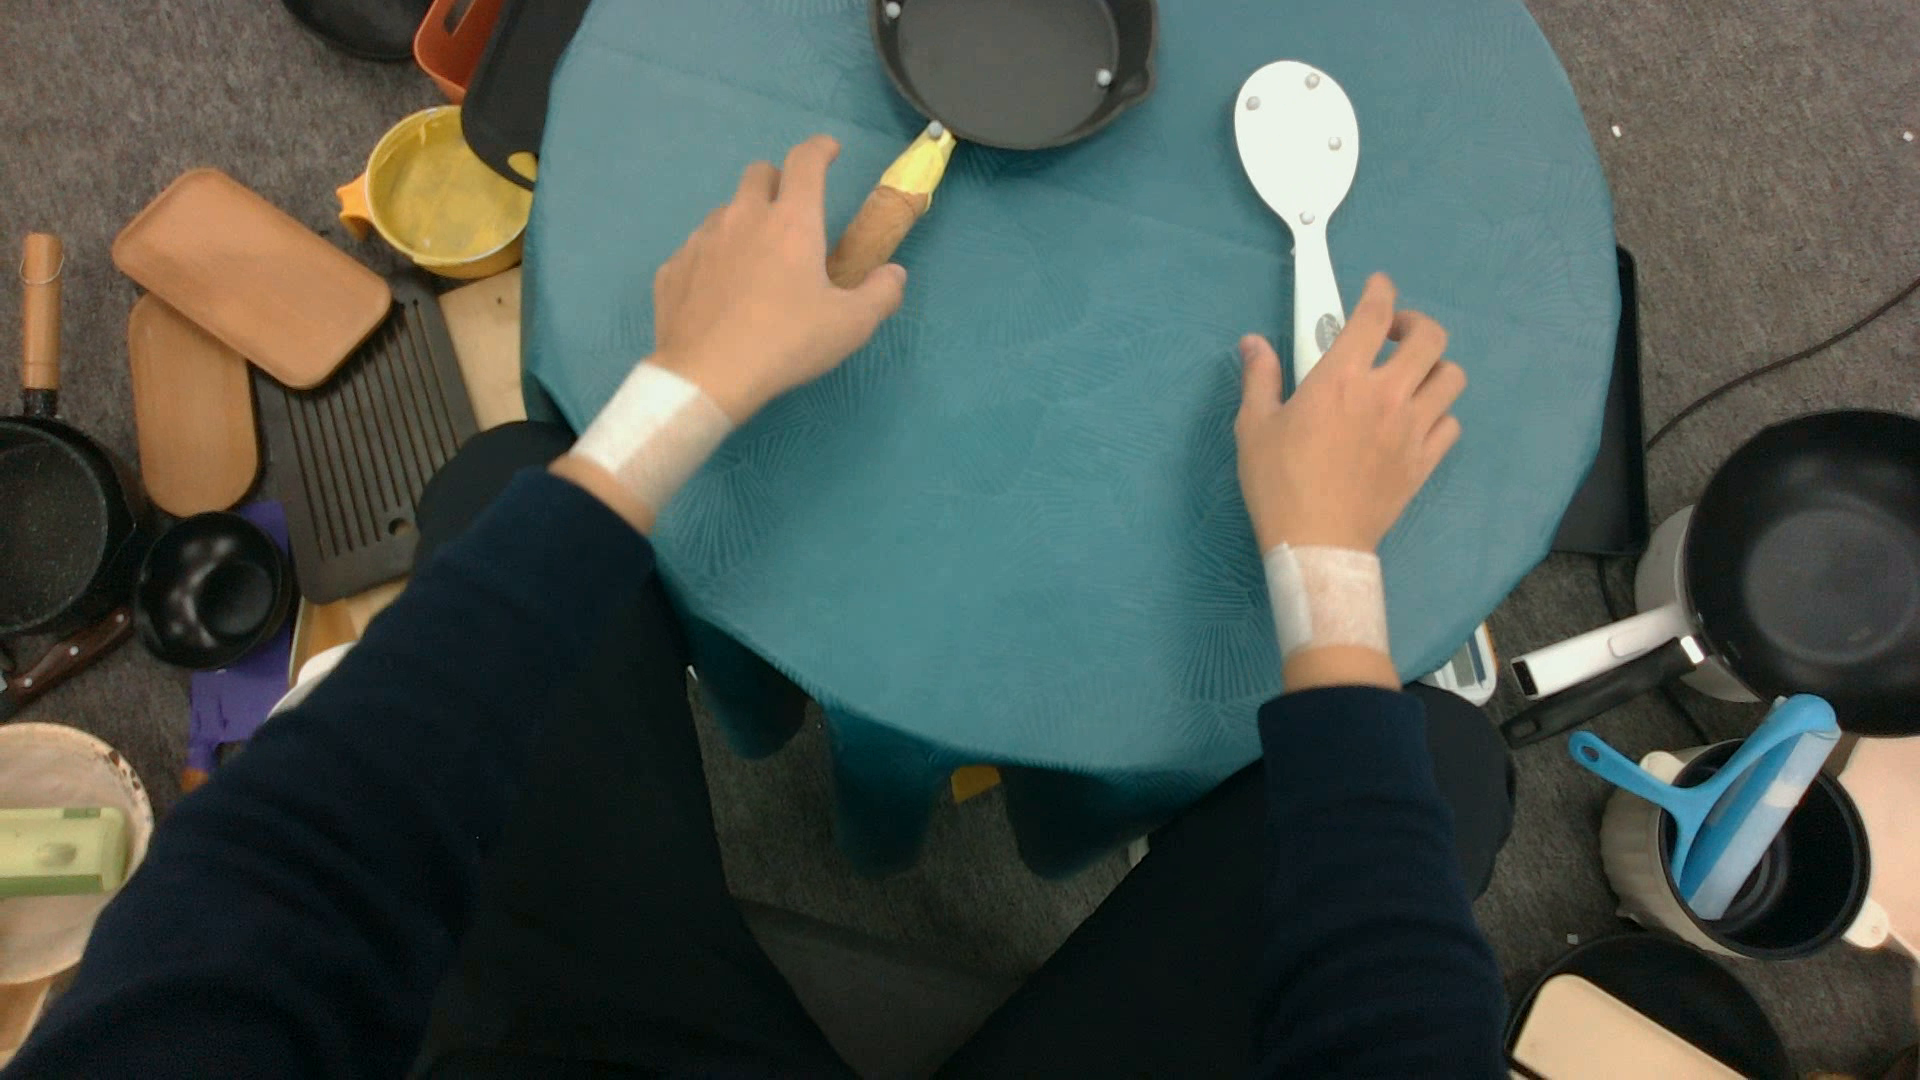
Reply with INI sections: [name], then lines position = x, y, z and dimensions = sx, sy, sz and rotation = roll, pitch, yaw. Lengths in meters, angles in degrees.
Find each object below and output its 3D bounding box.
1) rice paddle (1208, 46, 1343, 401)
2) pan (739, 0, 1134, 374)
[rice paddle]
position = 0.177, -0.178, 0.752
dimensions = 0.069, 0.029, 0.205
rotation = -4, 79, -9
[pan]
position = -0.026, -0.219, 0.728
dimensions = 0.169, 0.049, 0.325
rotation = 31, 75, 1
